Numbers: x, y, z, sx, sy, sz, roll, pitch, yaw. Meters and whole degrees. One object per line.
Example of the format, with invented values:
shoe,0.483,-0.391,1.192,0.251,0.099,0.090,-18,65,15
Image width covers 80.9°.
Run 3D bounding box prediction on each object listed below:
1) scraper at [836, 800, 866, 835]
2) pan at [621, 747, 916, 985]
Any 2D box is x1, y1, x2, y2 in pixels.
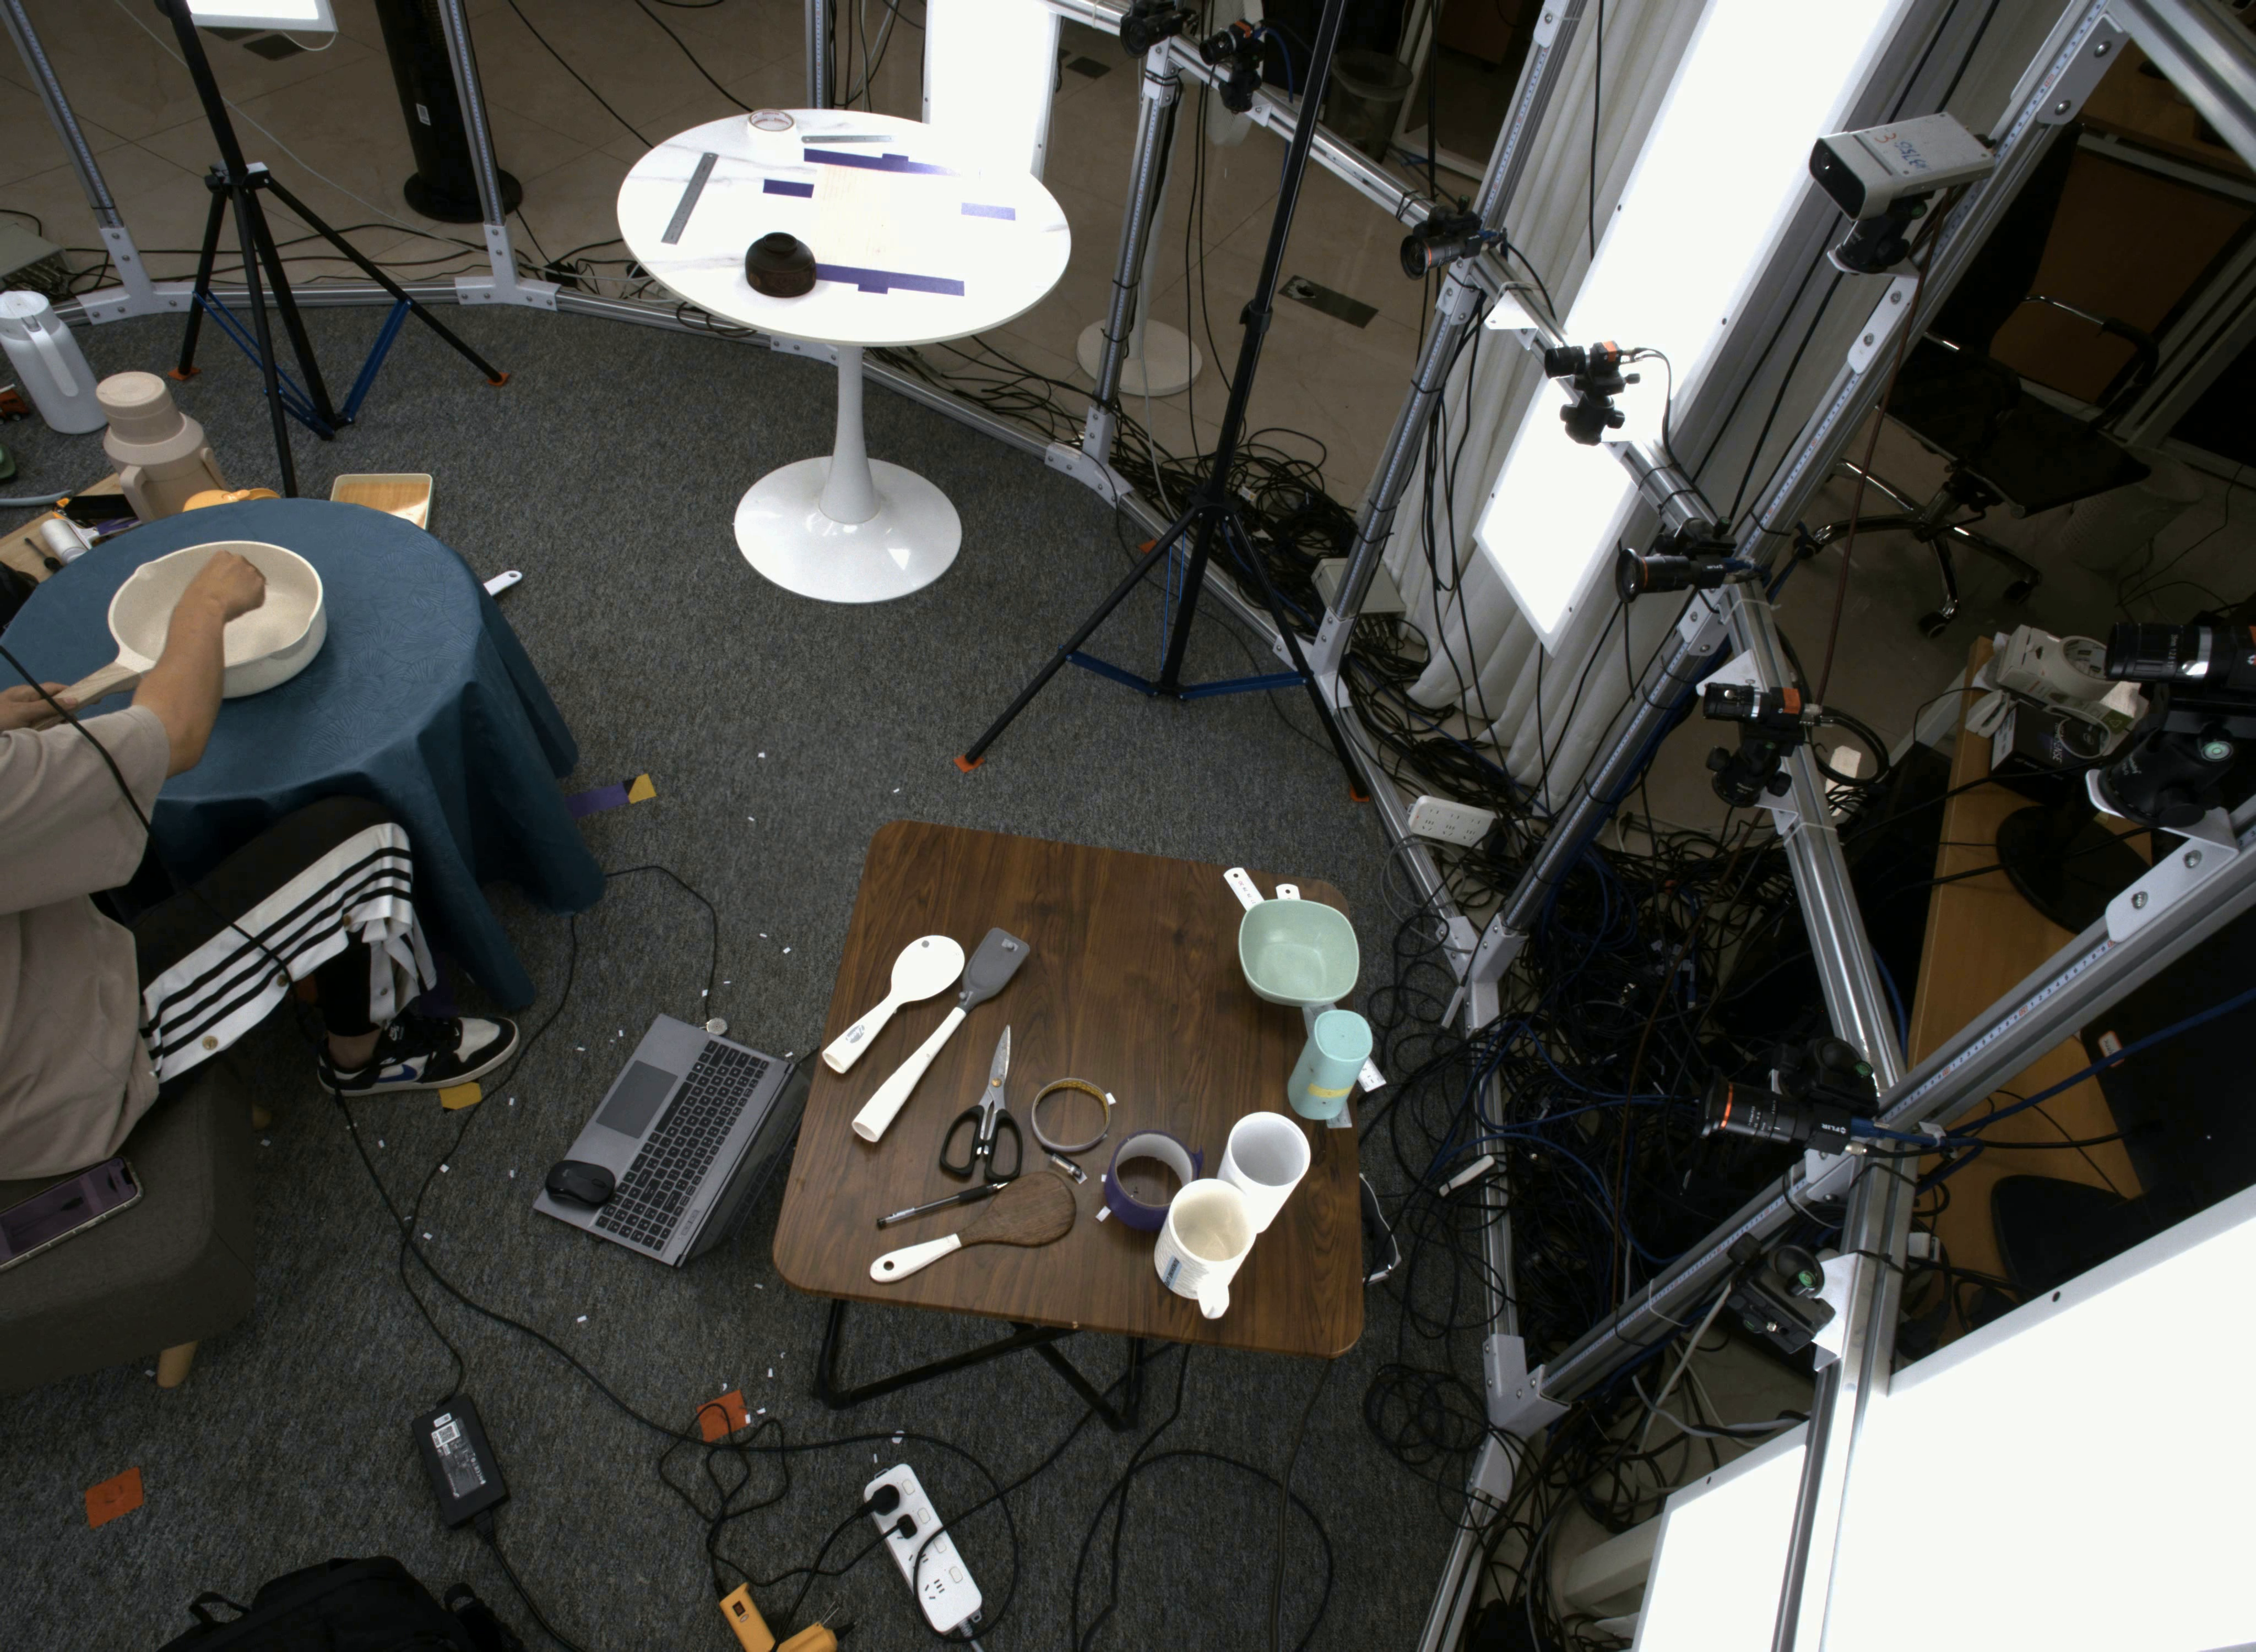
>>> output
scraper,-0.342,-0.012,1.602,0.039,0.015,0.167,8,9,-14
pan,-0.454,0.070,1.615,0.259,0.104,0.435,38,55,12
